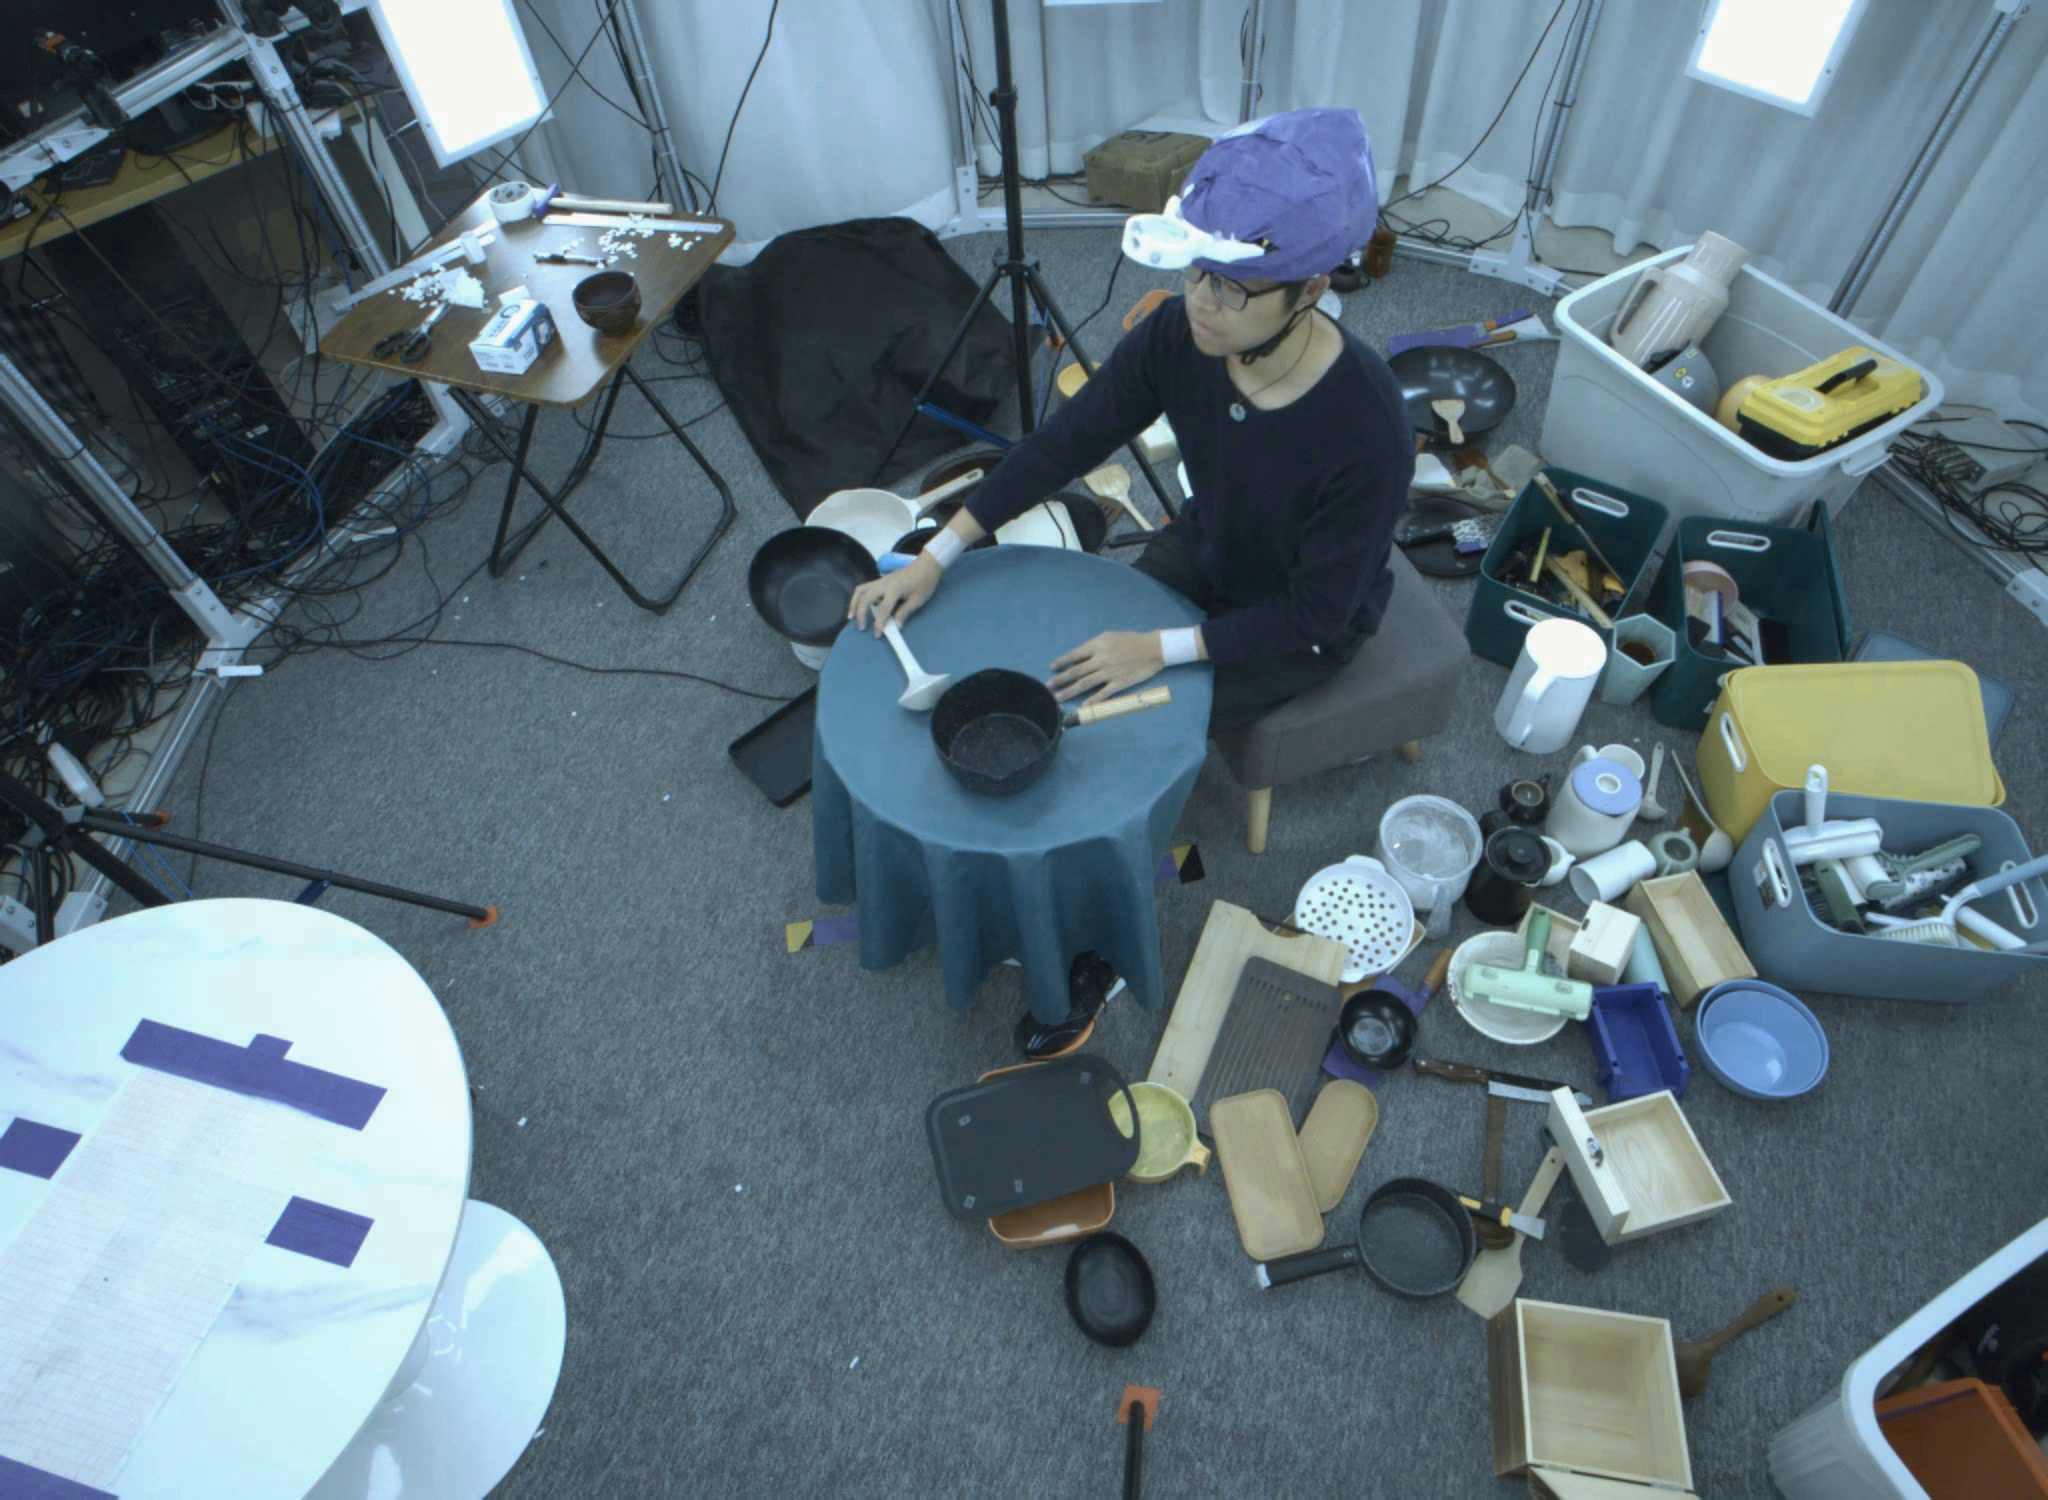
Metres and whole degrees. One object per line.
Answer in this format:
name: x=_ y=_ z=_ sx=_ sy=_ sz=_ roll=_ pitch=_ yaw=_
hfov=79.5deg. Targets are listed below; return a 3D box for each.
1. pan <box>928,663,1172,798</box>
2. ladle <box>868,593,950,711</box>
pan: x=0.039 y=-0.035 z=1.744 sx=0.343 sy=0.109 sz=0.204 roll=-8 pitch=54 yaw=-2
ladle: x=-0.195 y=-0.167 z=1.869 sx=0.089 sy=0.070 sz=0.270 roll=-31 pitch=59 yaw=0
